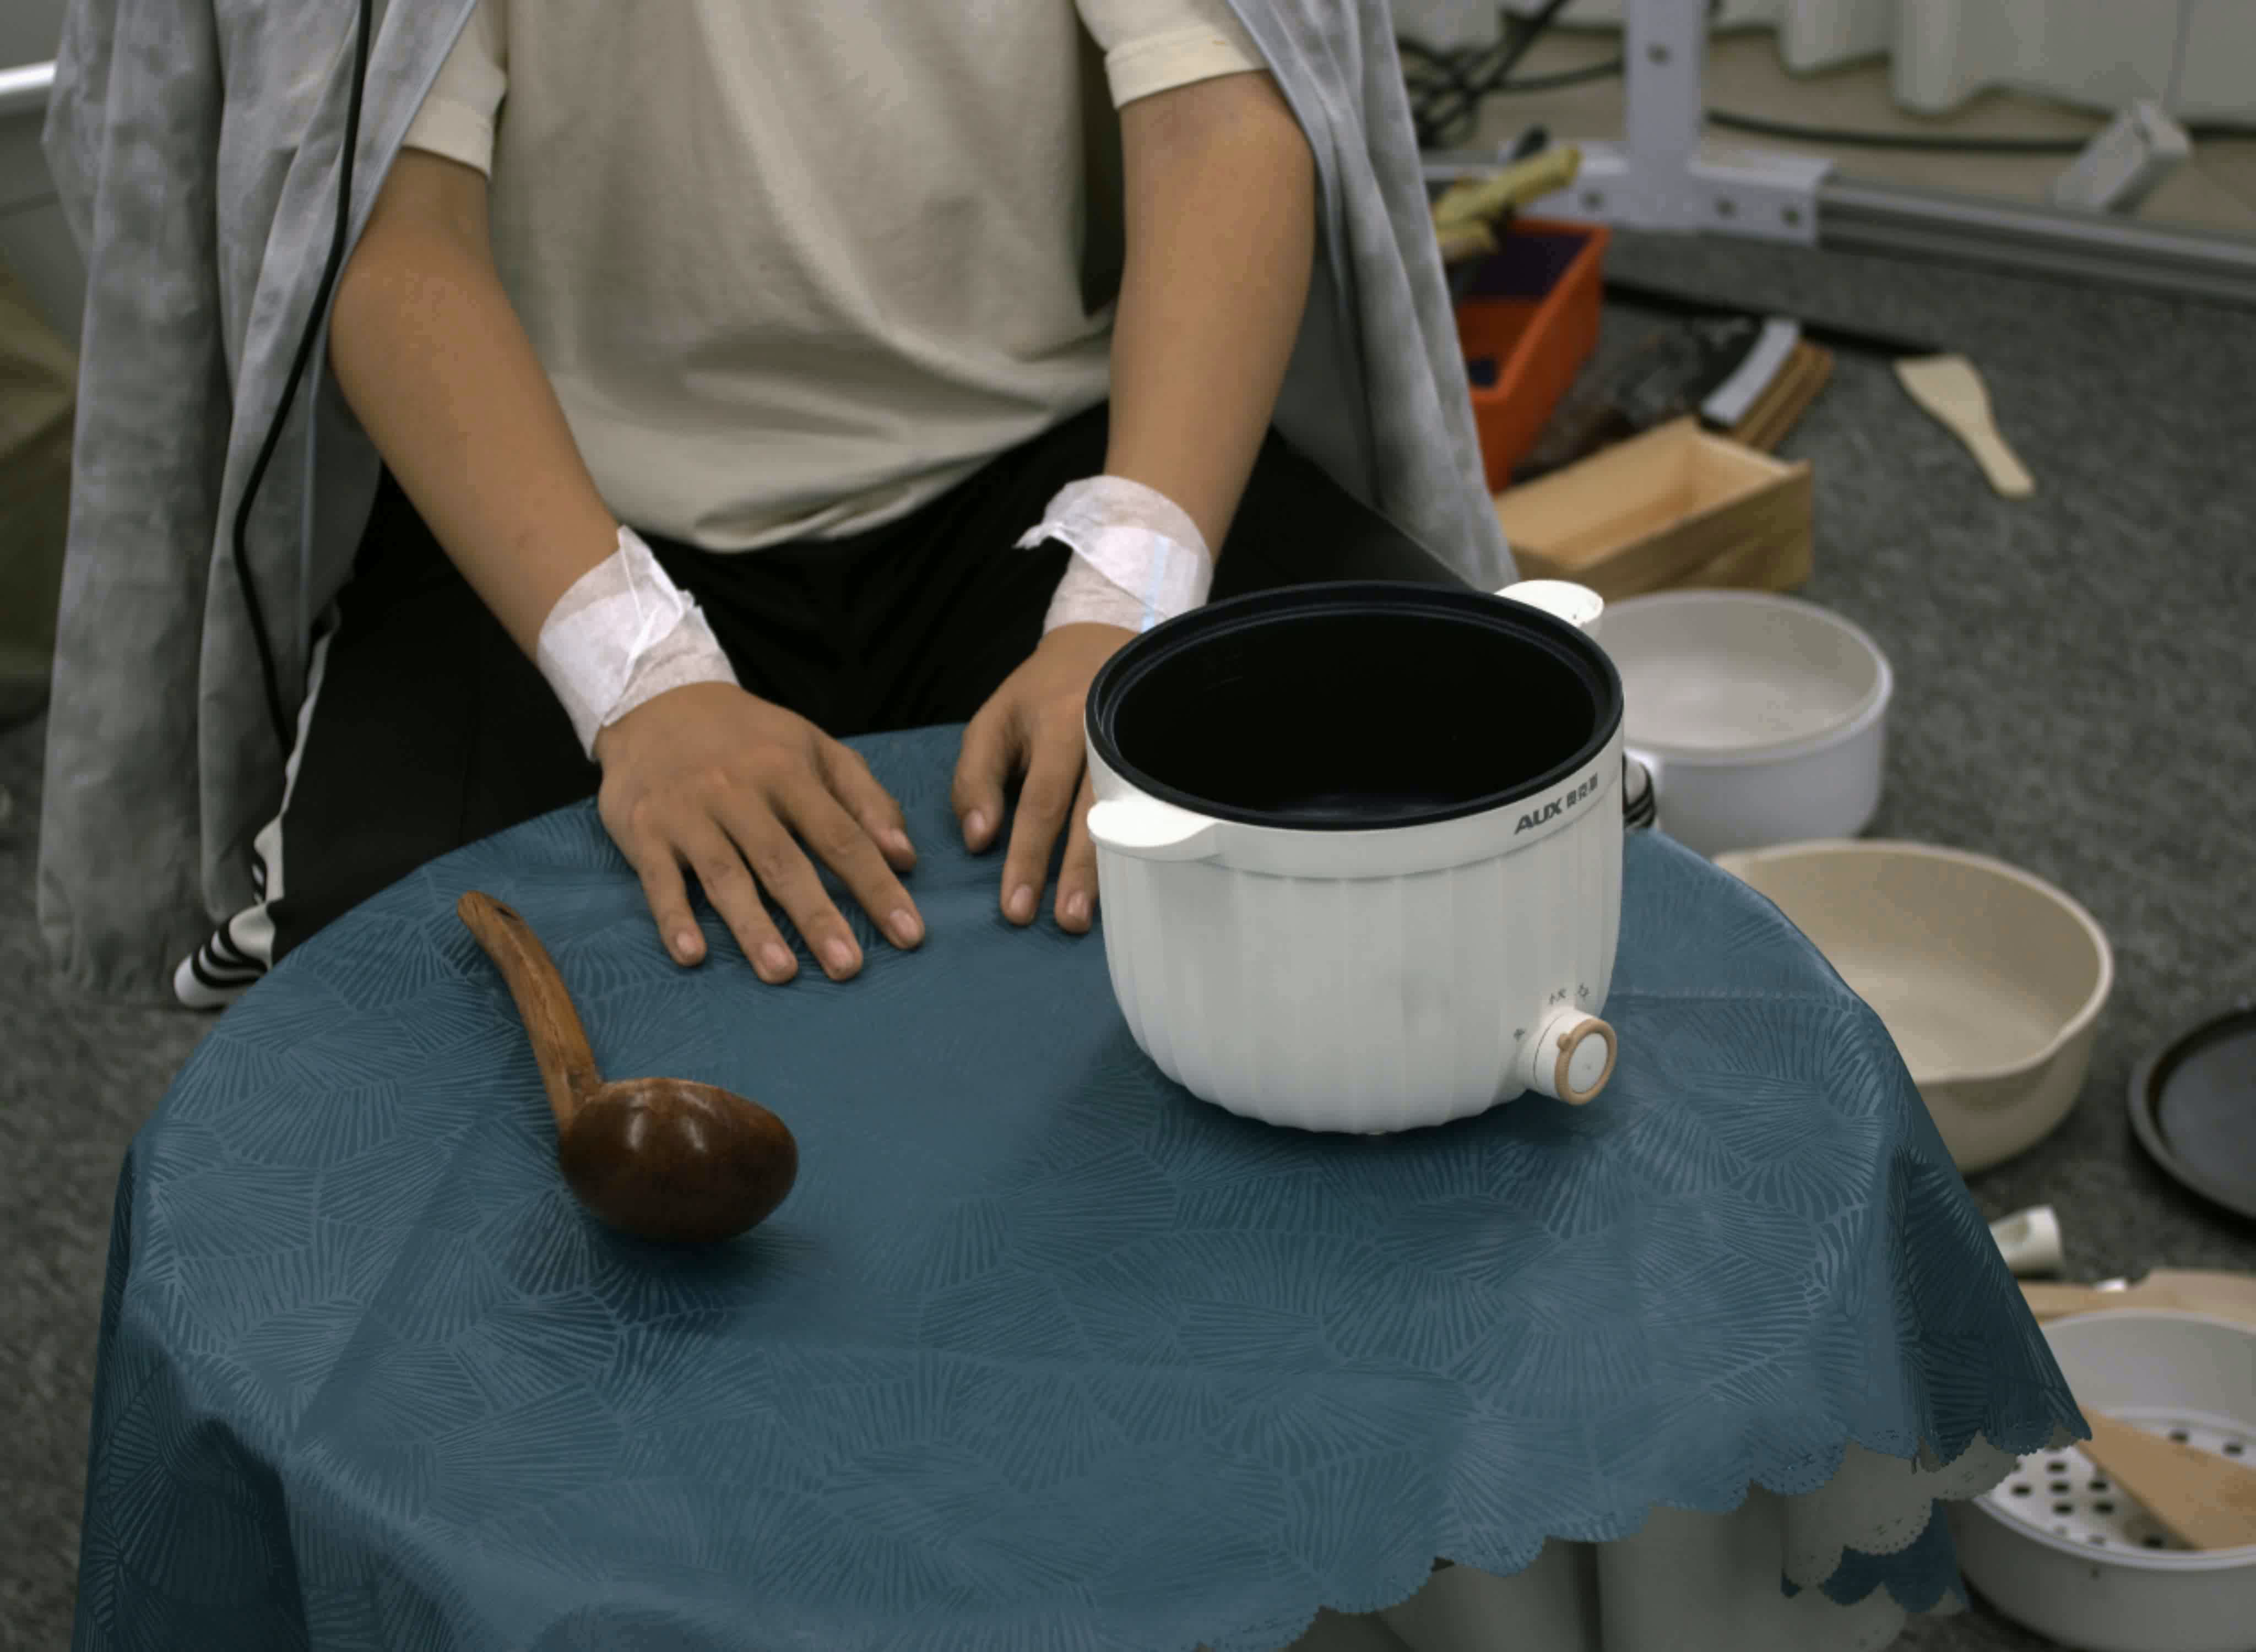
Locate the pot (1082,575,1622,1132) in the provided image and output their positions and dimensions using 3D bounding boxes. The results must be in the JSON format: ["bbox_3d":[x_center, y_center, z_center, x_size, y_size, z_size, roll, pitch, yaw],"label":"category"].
[{"bbox_3d":[0.083,0.015,1.908,0.190,0.141,0.243,17,34,41],"label":"pot"}]

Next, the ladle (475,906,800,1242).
[{"bbox_3d":[-0.177,0.064,1.914,0.081,0.076,0.277,32,12,-26],"label":"ladle"}]
